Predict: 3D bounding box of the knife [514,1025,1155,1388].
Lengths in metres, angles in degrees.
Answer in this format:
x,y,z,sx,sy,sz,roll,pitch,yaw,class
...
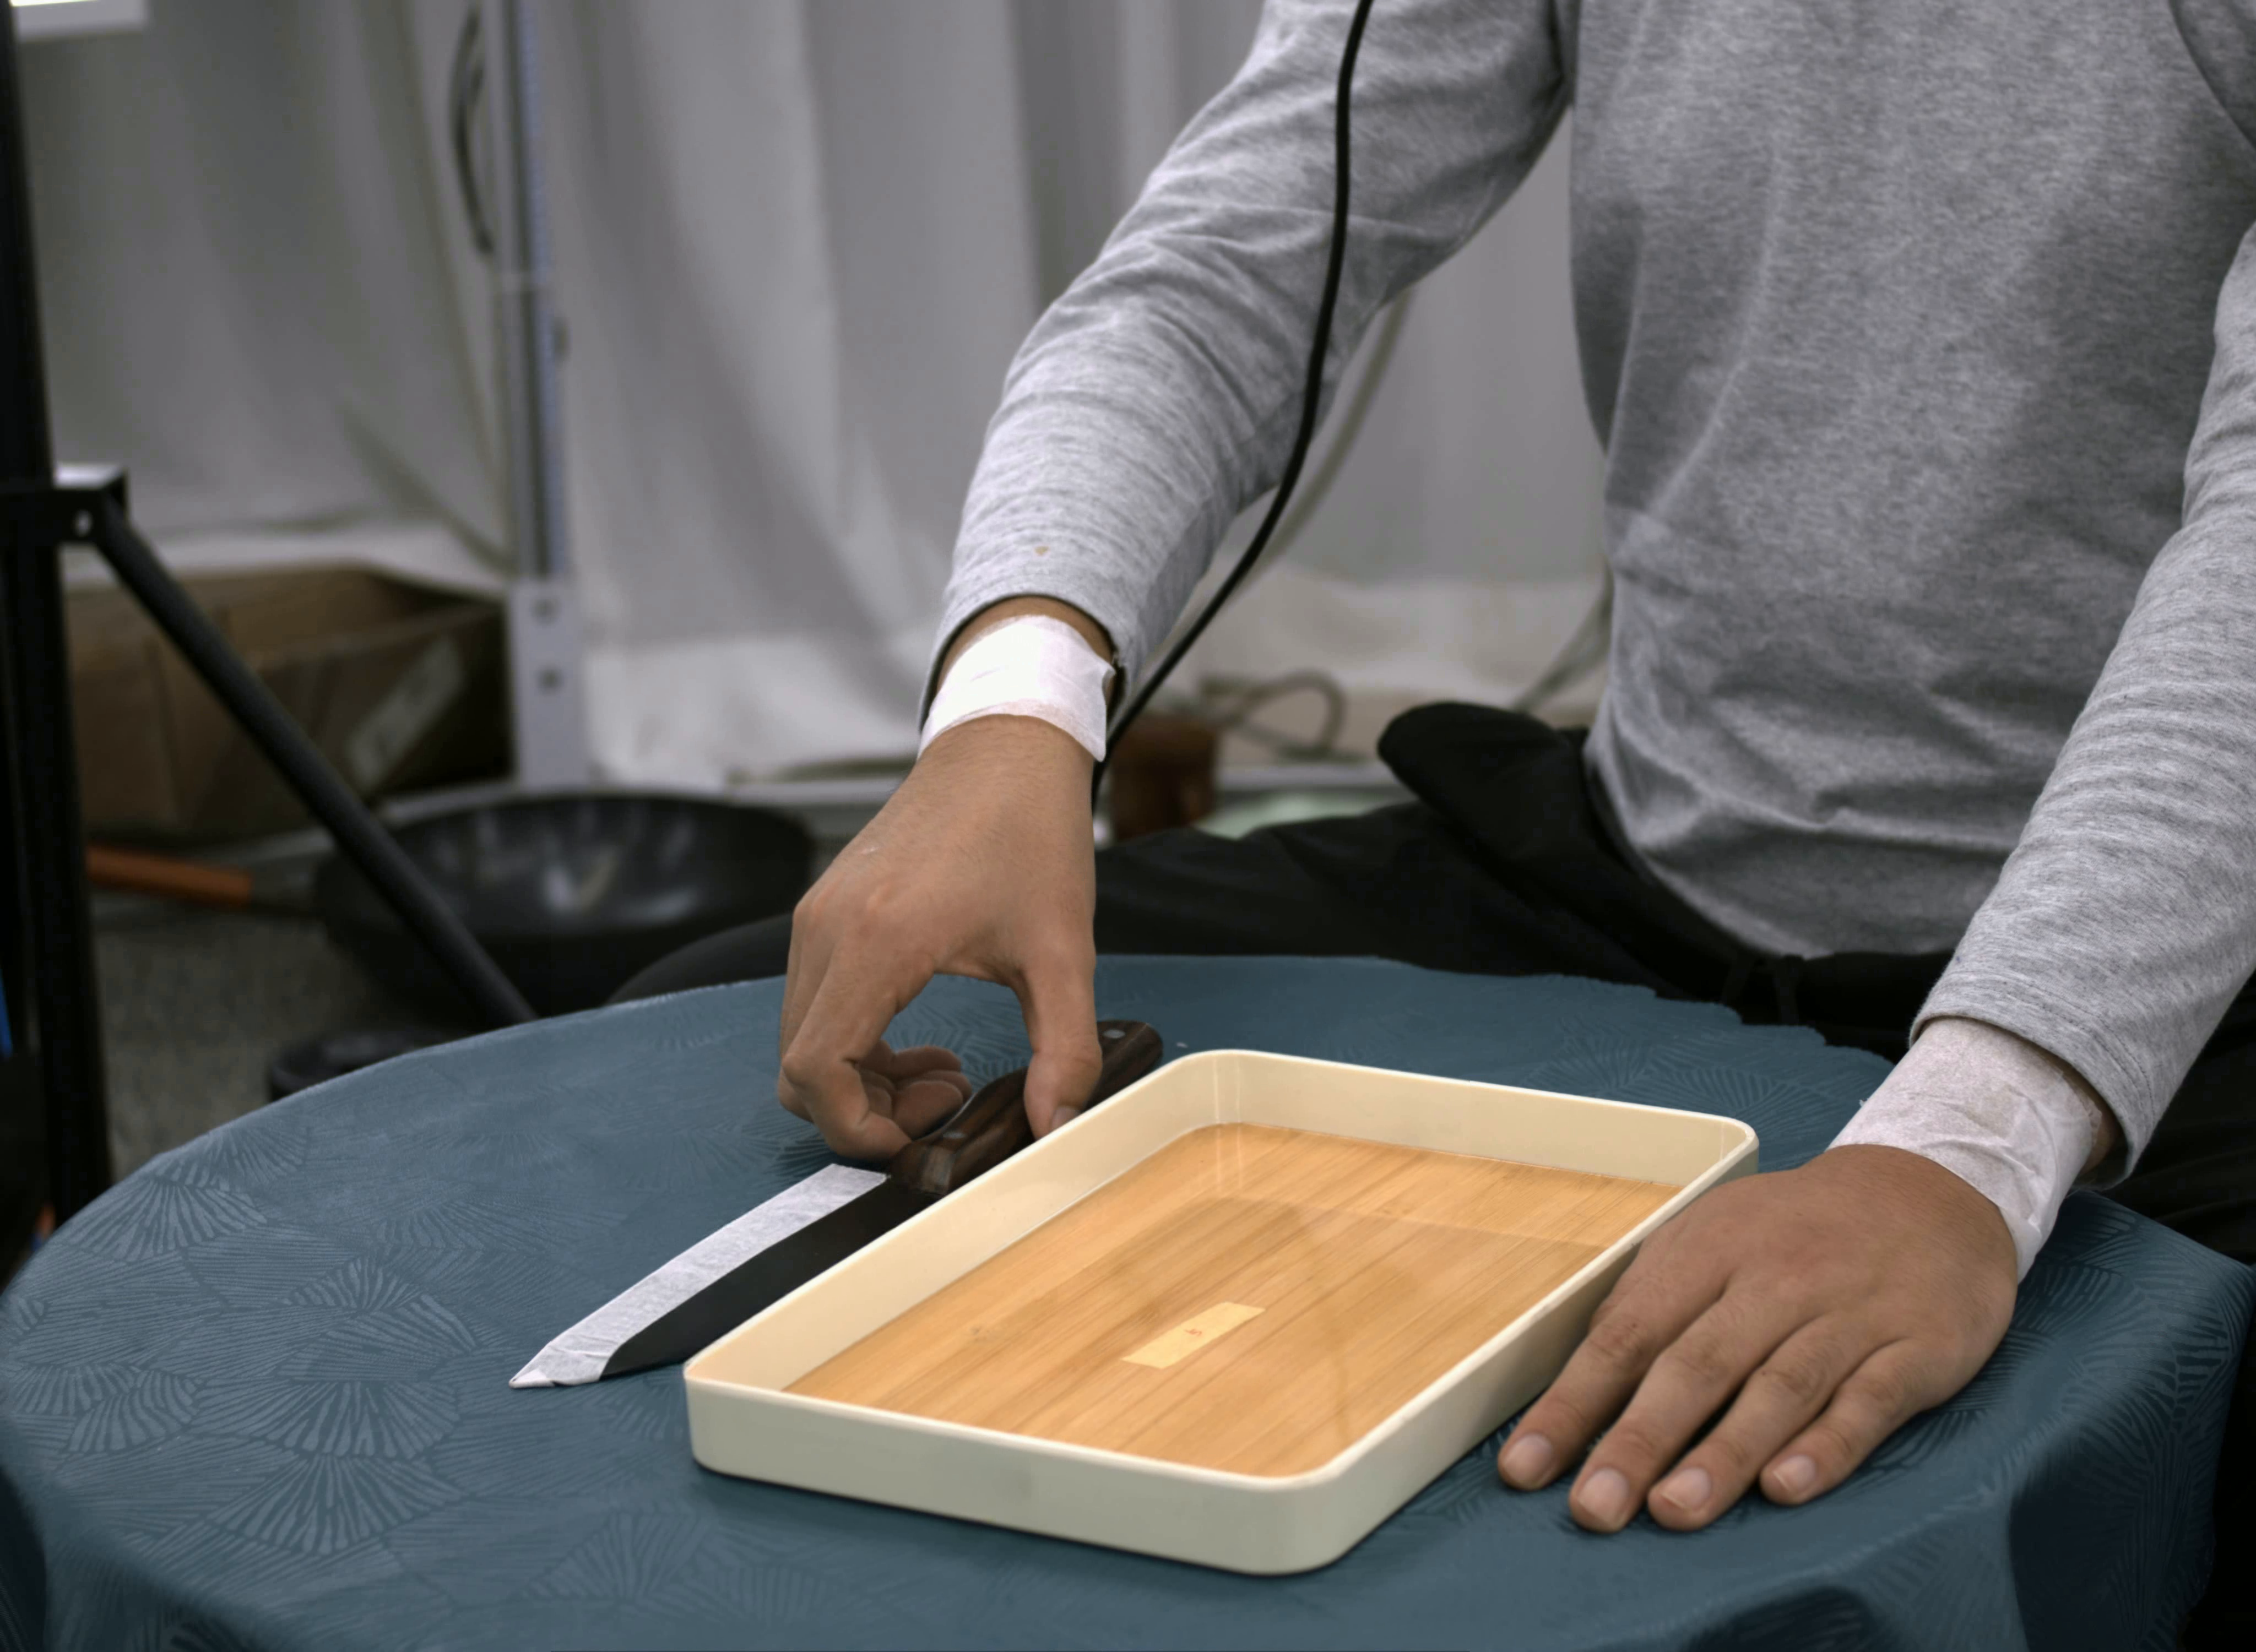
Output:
x,y,z,sx,sy,sz,roll,pitch,yaw,class
-0.079,0.110,1.538,0.051,0.020,0.283,9,22,35,knife

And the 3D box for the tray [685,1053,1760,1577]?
x,y,z,sx,sy,sz,roll,pitch,yaw,class
0.034,0.126,1.444,0.195,0.027,0.295,7,18,29,tray
